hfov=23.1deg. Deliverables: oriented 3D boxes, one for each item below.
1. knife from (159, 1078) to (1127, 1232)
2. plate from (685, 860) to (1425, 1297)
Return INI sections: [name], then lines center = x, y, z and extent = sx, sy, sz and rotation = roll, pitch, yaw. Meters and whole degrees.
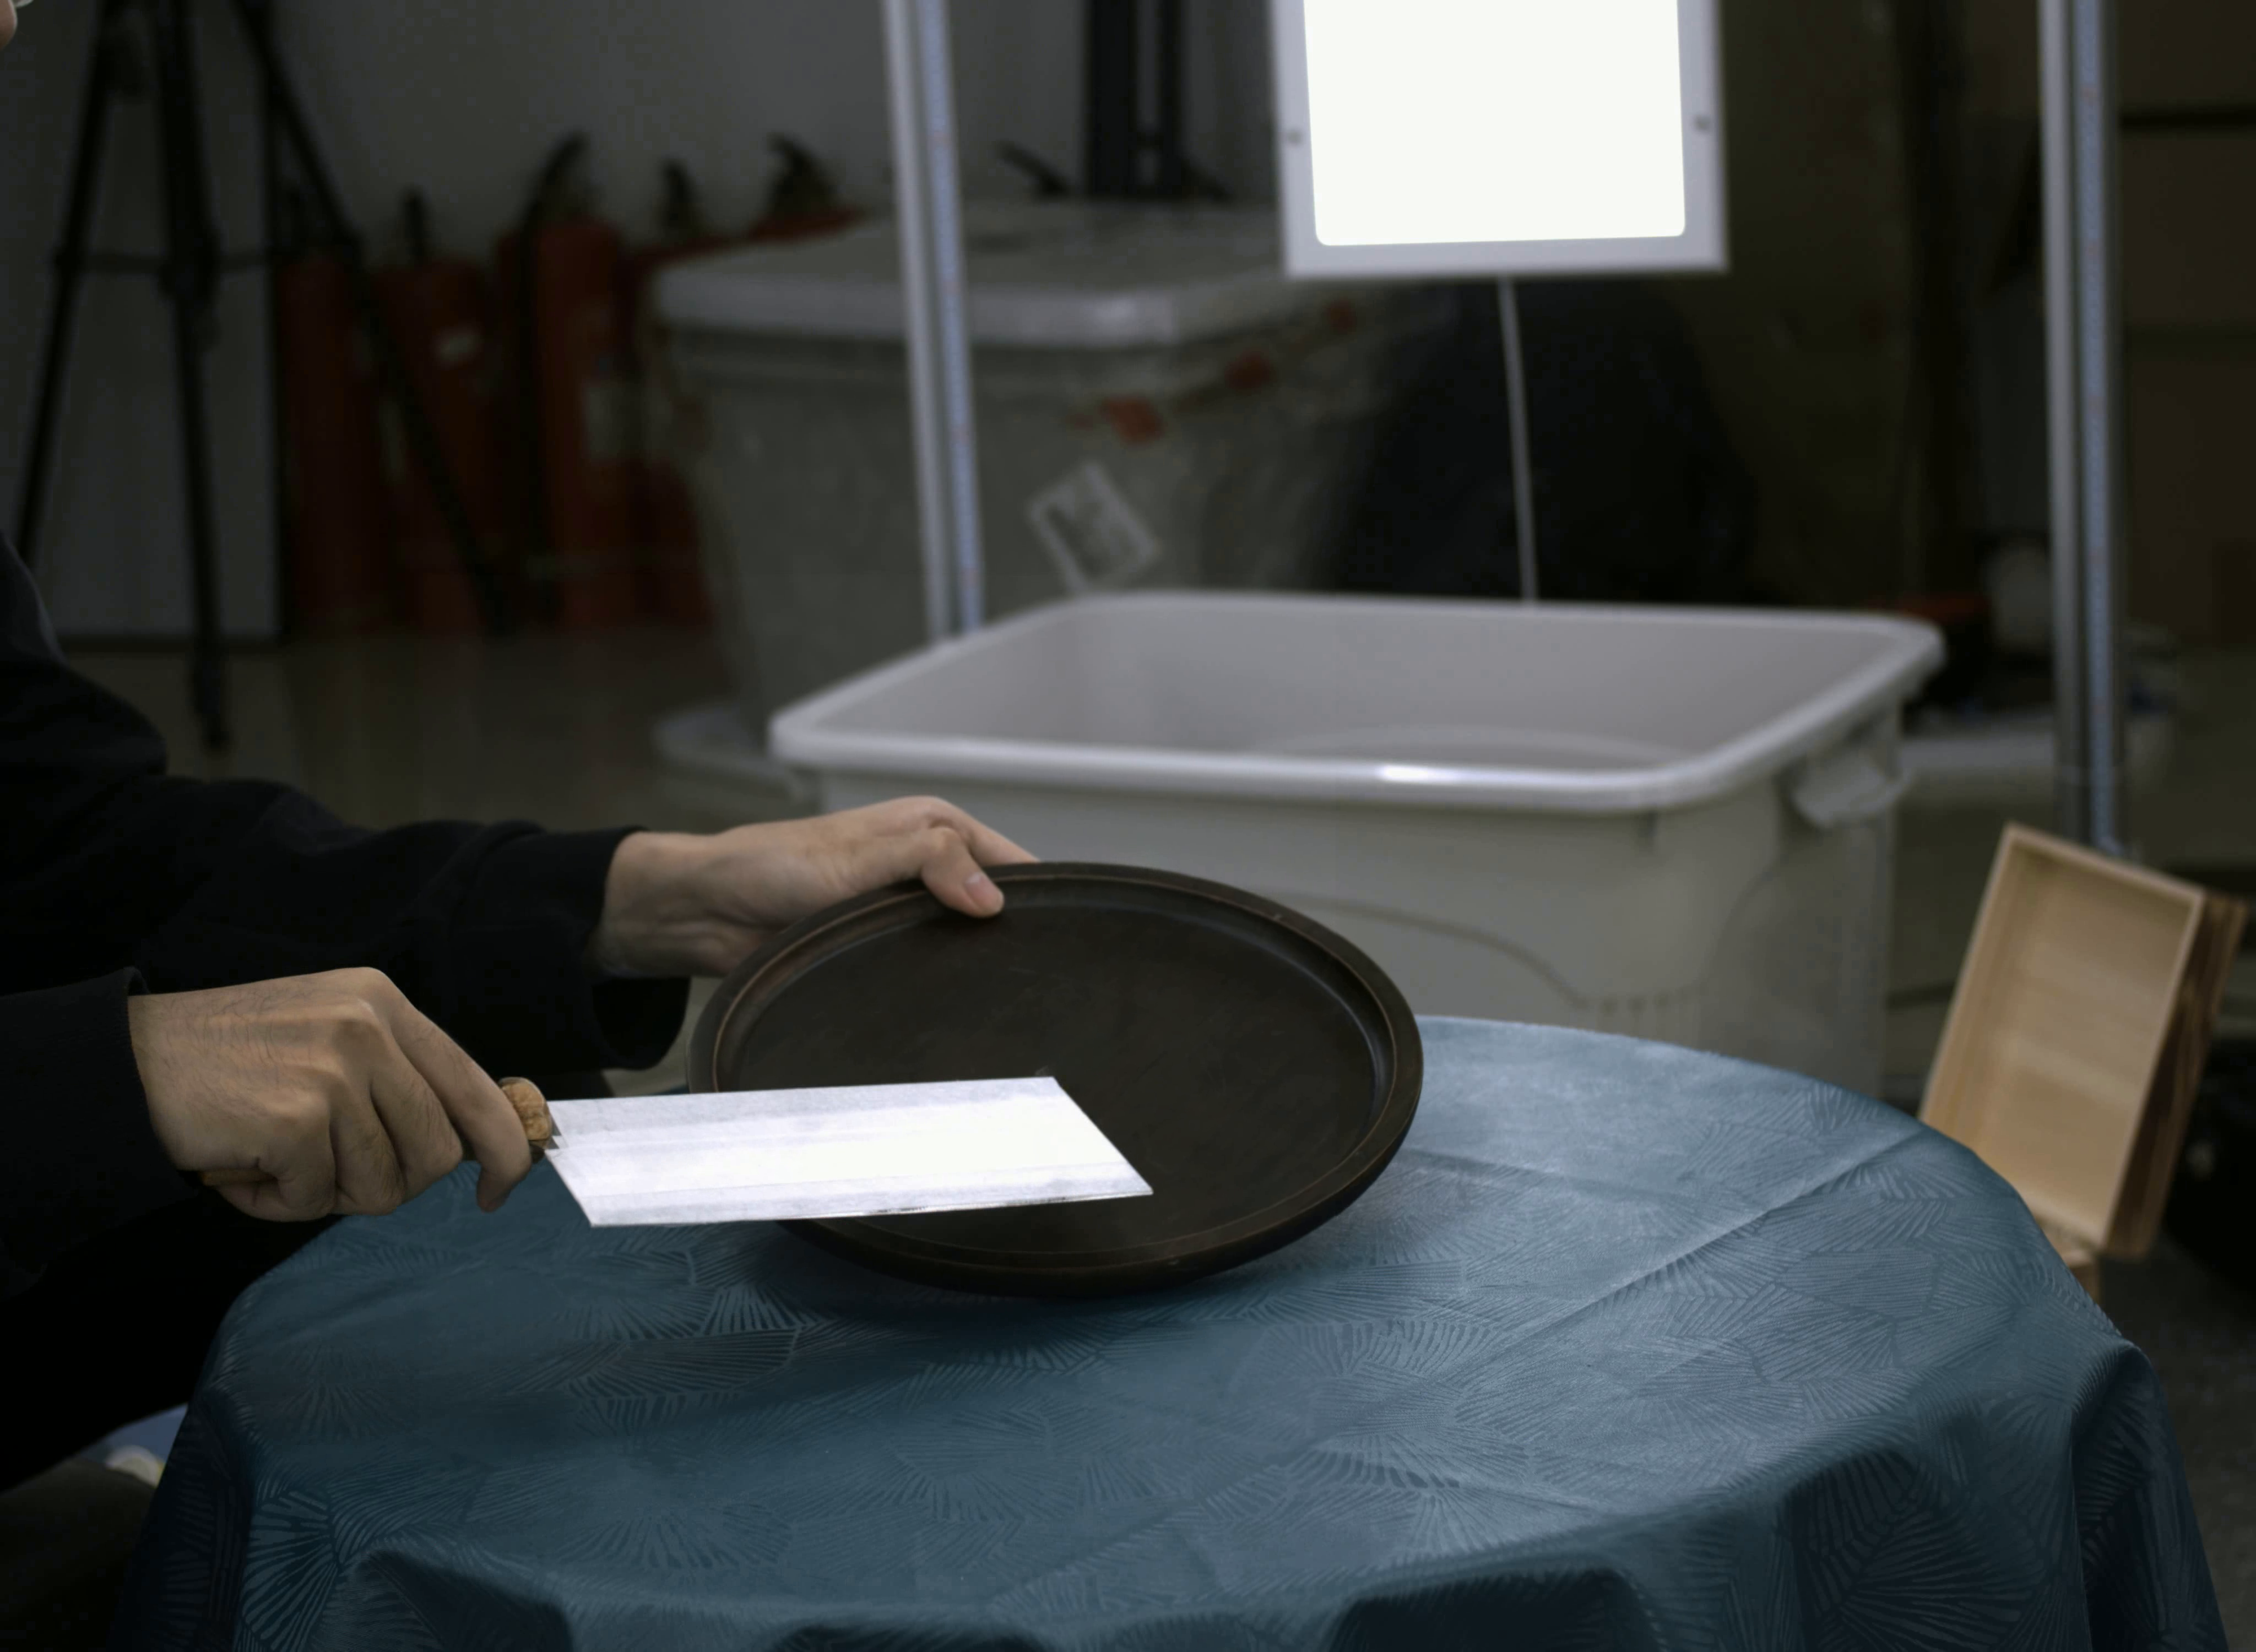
[knife]
center = -0.147, 0.104, 1.740
extent = 0.300, 0.021, 0.094
rotation = -2, 22, -21
[plate]
center = -0.025, 0.085, 1.885
extent = 0.254, 0.029, 0.254
rotation = -2, 30, 0
